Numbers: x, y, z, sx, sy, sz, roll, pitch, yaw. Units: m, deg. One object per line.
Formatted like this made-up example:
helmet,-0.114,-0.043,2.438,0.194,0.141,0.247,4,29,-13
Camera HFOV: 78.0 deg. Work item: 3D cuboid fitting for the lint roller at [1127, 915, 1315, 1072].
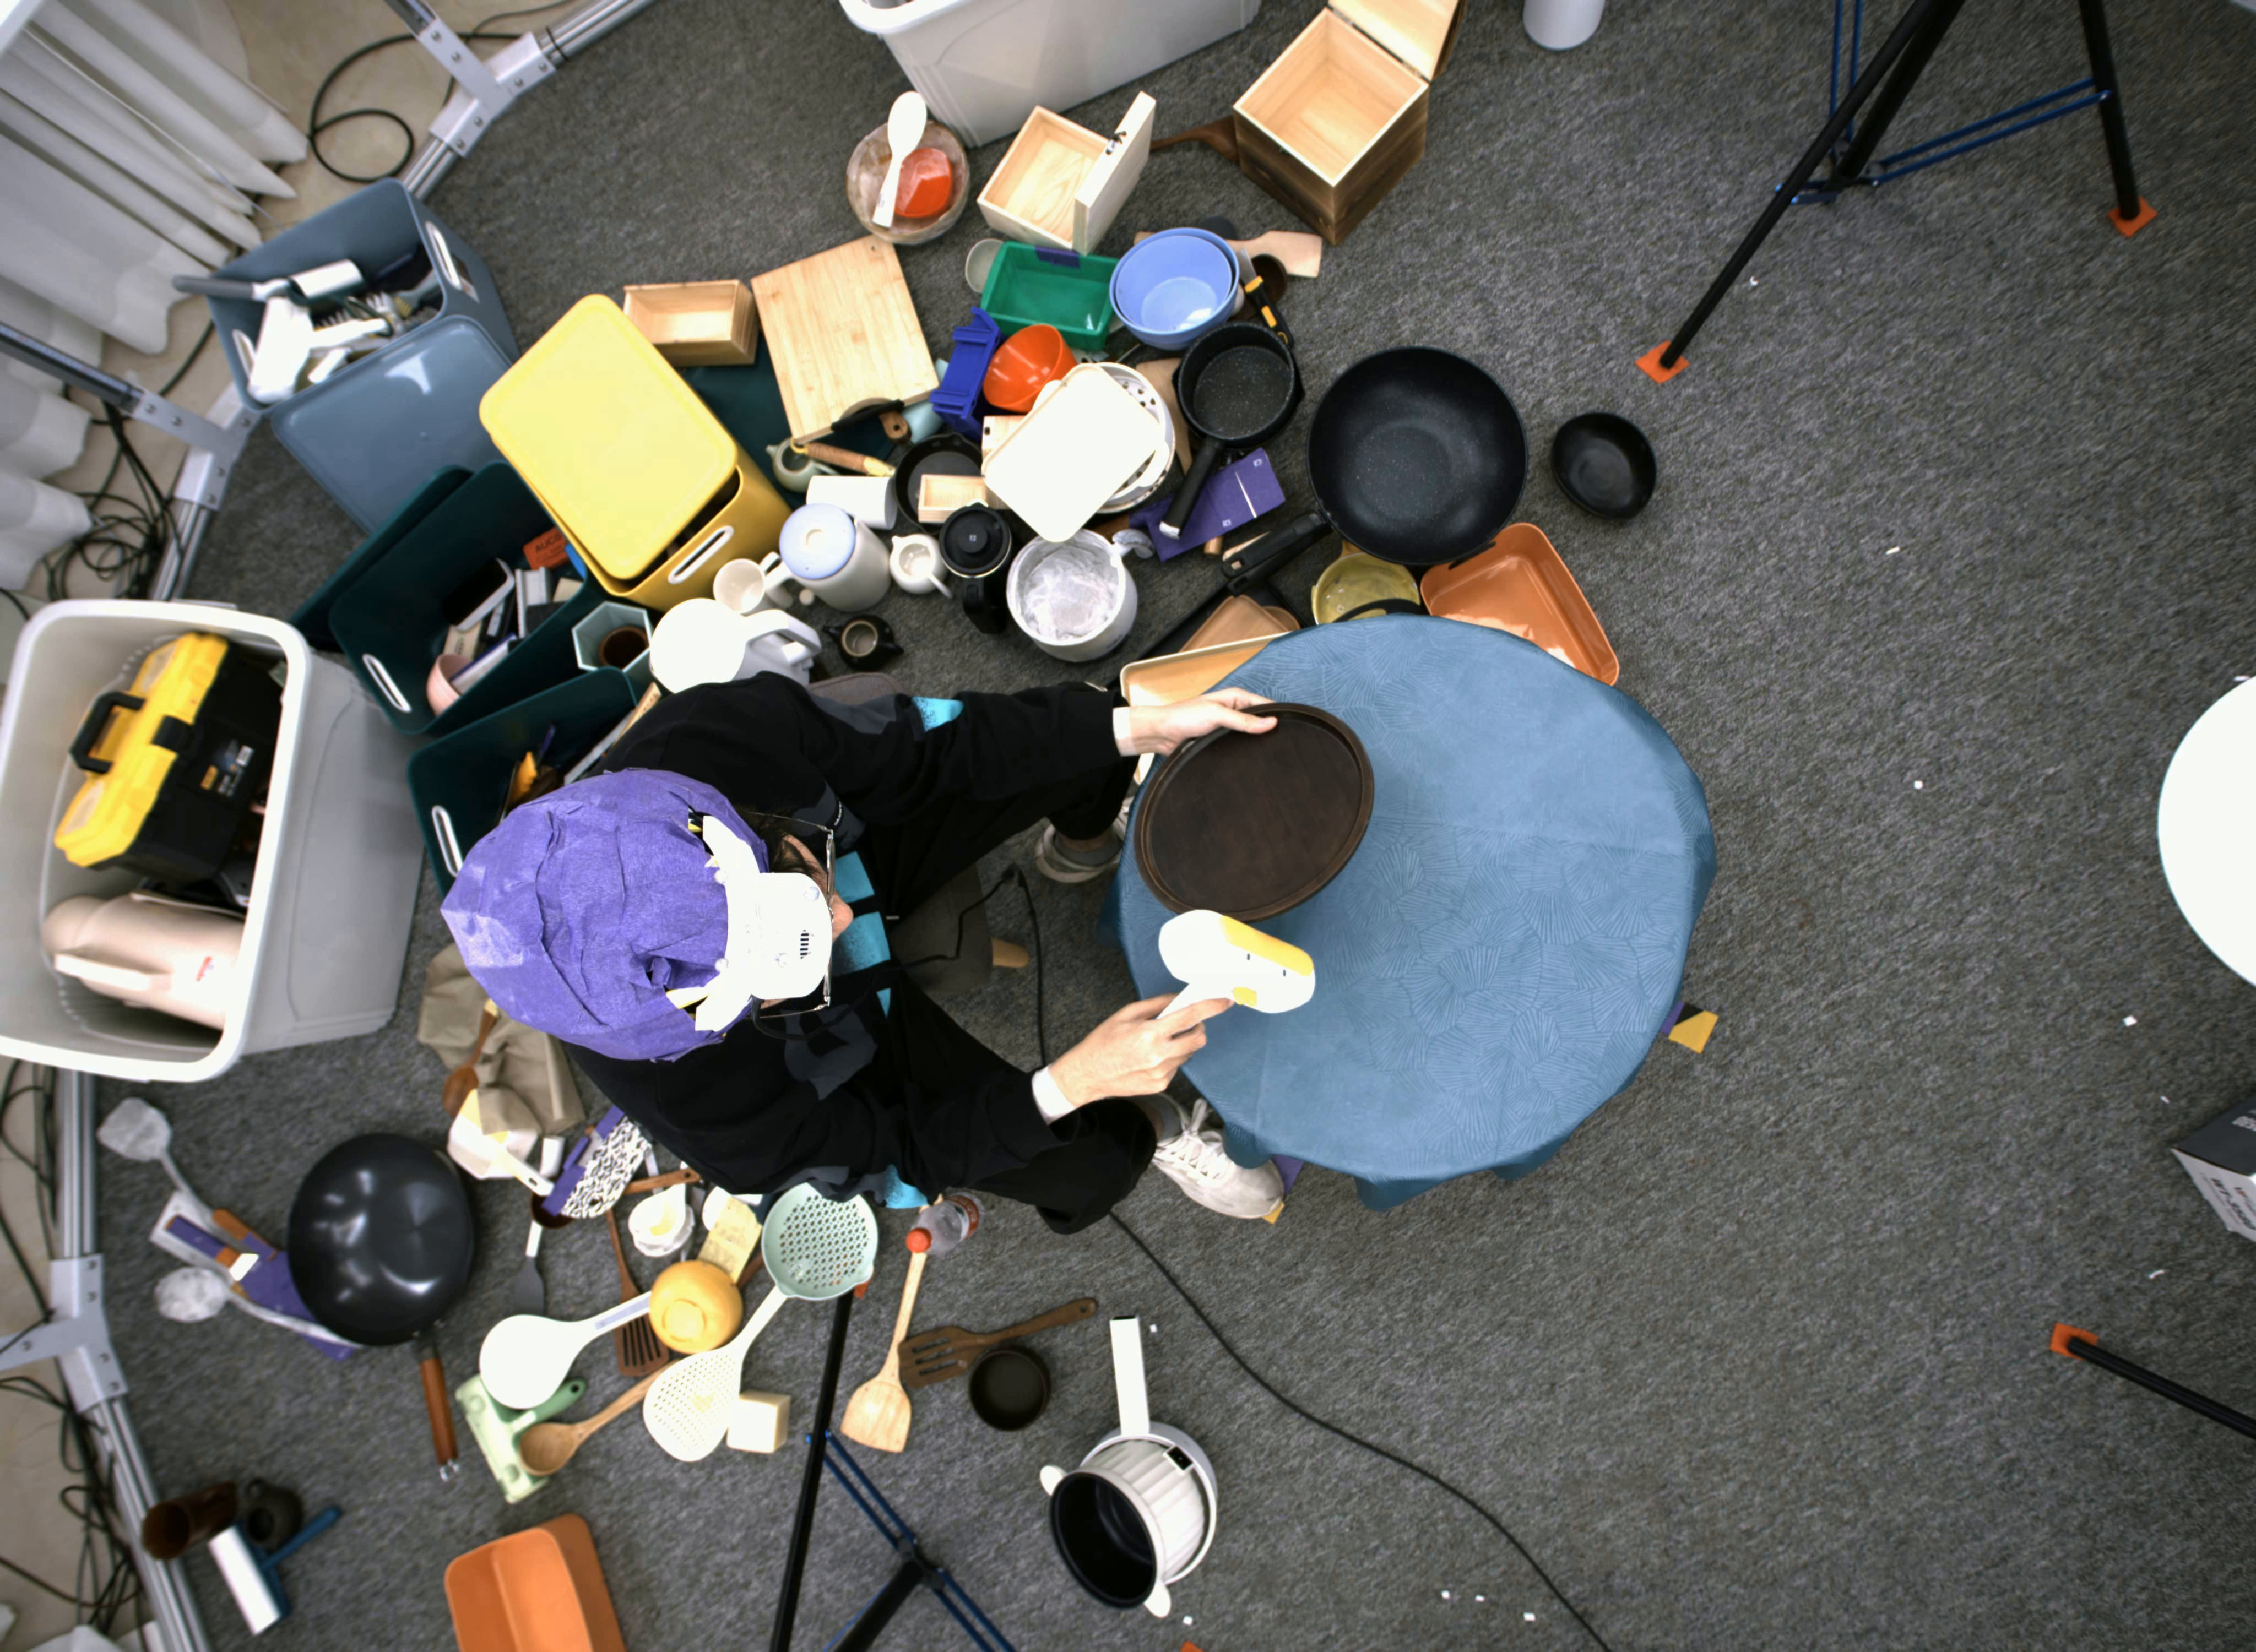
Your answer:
lint roller,0.066,0.167,1.334,0.196,0.193,0.072,-39,54,30

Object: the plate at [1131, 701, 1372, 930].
plate,0.119,-0.012,1.351,0.258,0.029,0.248,-17,54,24
